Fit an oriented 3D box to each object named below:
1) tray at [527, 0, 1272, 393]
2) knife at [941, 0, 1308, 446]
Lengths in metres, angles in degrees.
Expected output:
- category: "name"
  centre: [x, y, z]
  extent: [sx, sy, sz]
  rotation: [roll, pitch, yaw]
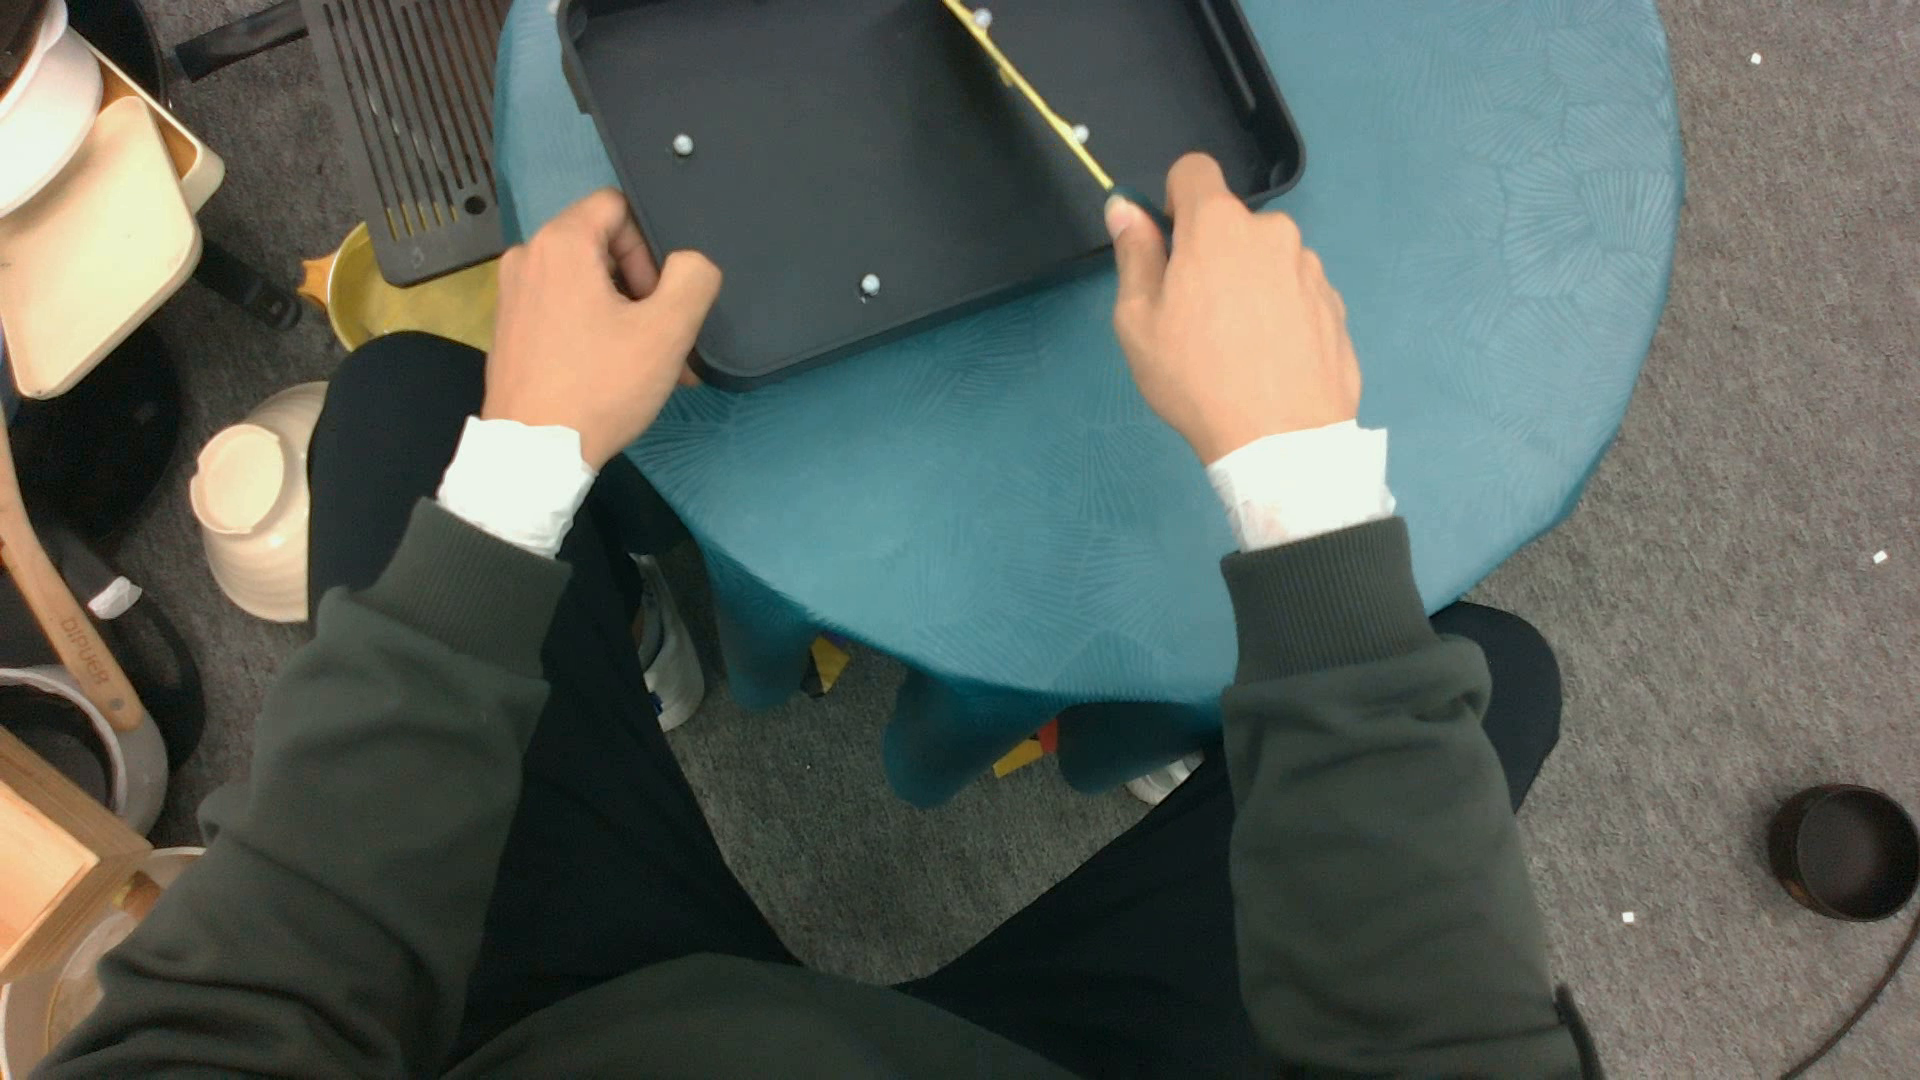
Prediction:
- category: "tray"
  centre: [-0.017, -0.200, 0.635]
  extent: [0.319, 0.037, 0.184]
  rotation: [-24, 88, -22]
- category: "knife"
  centre: [0.058, -0.155, 0.603]
  extent: [0.027, 0.081, 0.290]
  rotation: [-39, 73, 14]
